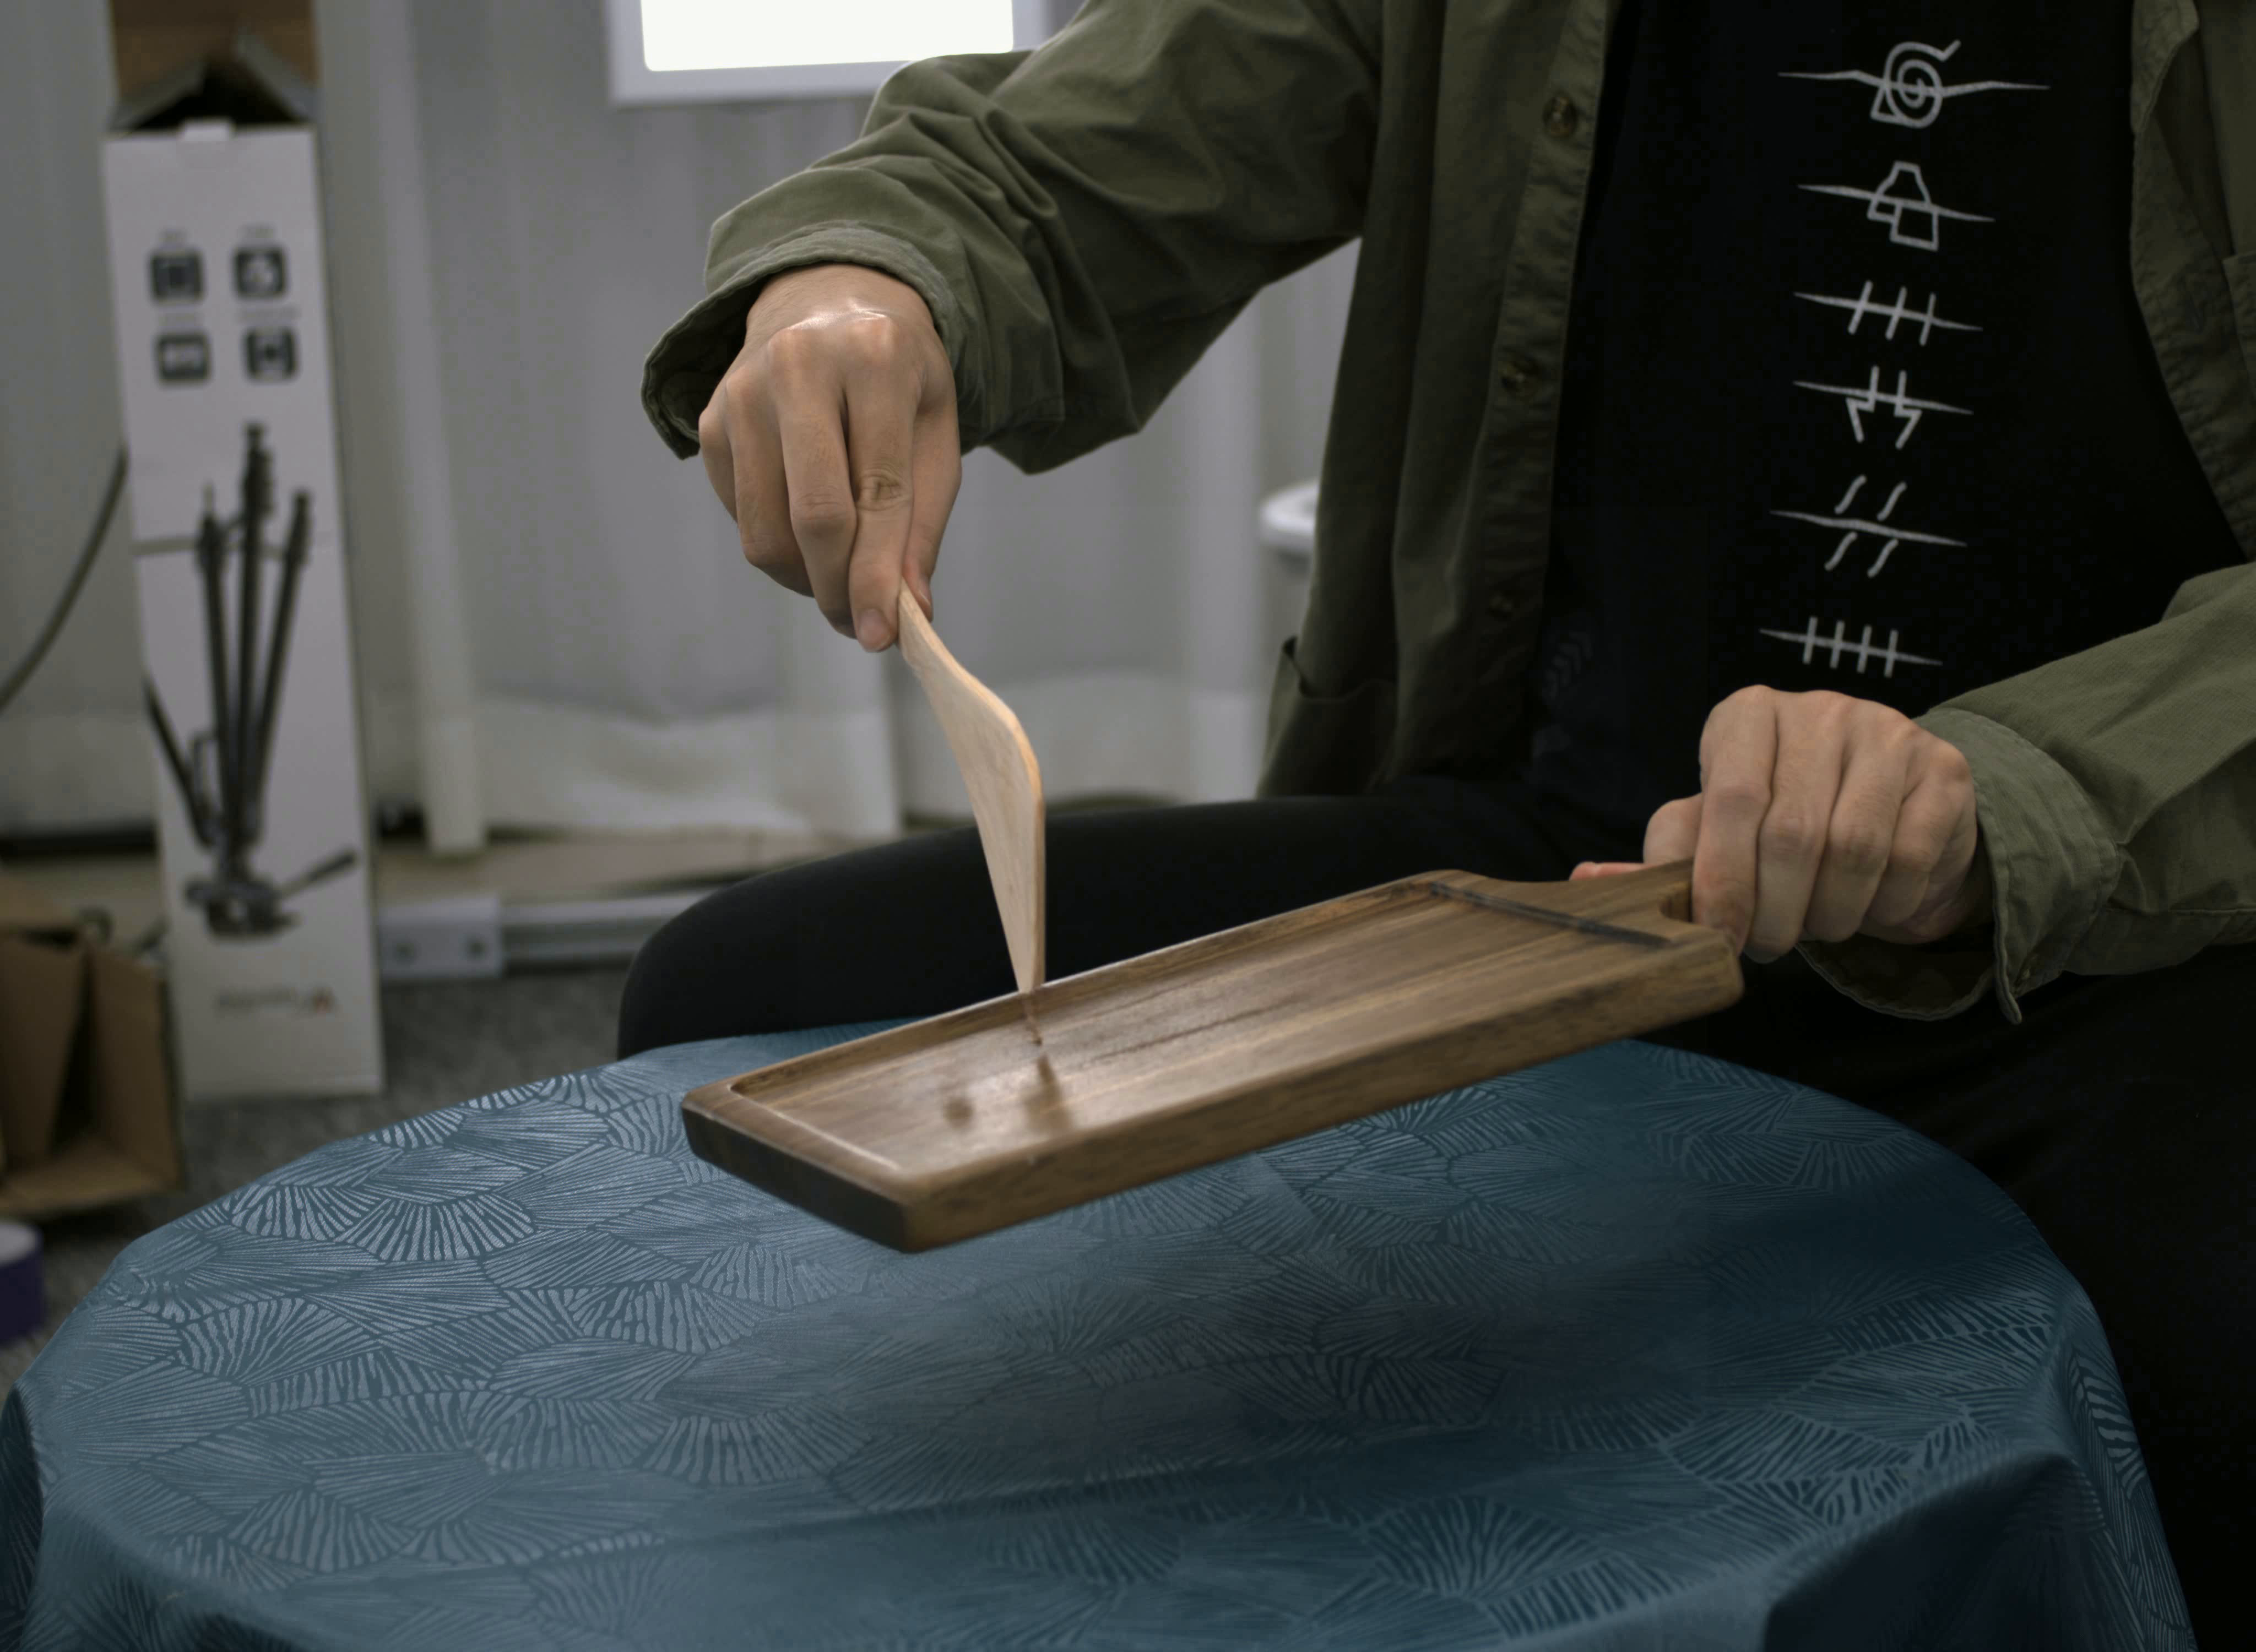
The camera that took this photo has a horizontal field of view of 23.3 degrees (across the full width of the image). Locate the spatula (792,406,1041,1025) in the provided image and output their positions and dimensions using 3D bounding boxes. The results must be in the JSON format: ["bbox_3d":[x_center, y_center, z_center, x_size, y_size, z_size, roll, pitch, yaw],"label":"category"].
[{"bbox_3d":[-0.065,-0.053,1.655,0.016,0.079,0.332,-7,30,-15],"label":"spatula"}]

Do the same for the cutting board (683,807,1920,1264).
[{"bbox_3d":[0.065,0.050,1.521,0.351,0.023,0.202,-16,10,-18],"label":"cutting board"}]
